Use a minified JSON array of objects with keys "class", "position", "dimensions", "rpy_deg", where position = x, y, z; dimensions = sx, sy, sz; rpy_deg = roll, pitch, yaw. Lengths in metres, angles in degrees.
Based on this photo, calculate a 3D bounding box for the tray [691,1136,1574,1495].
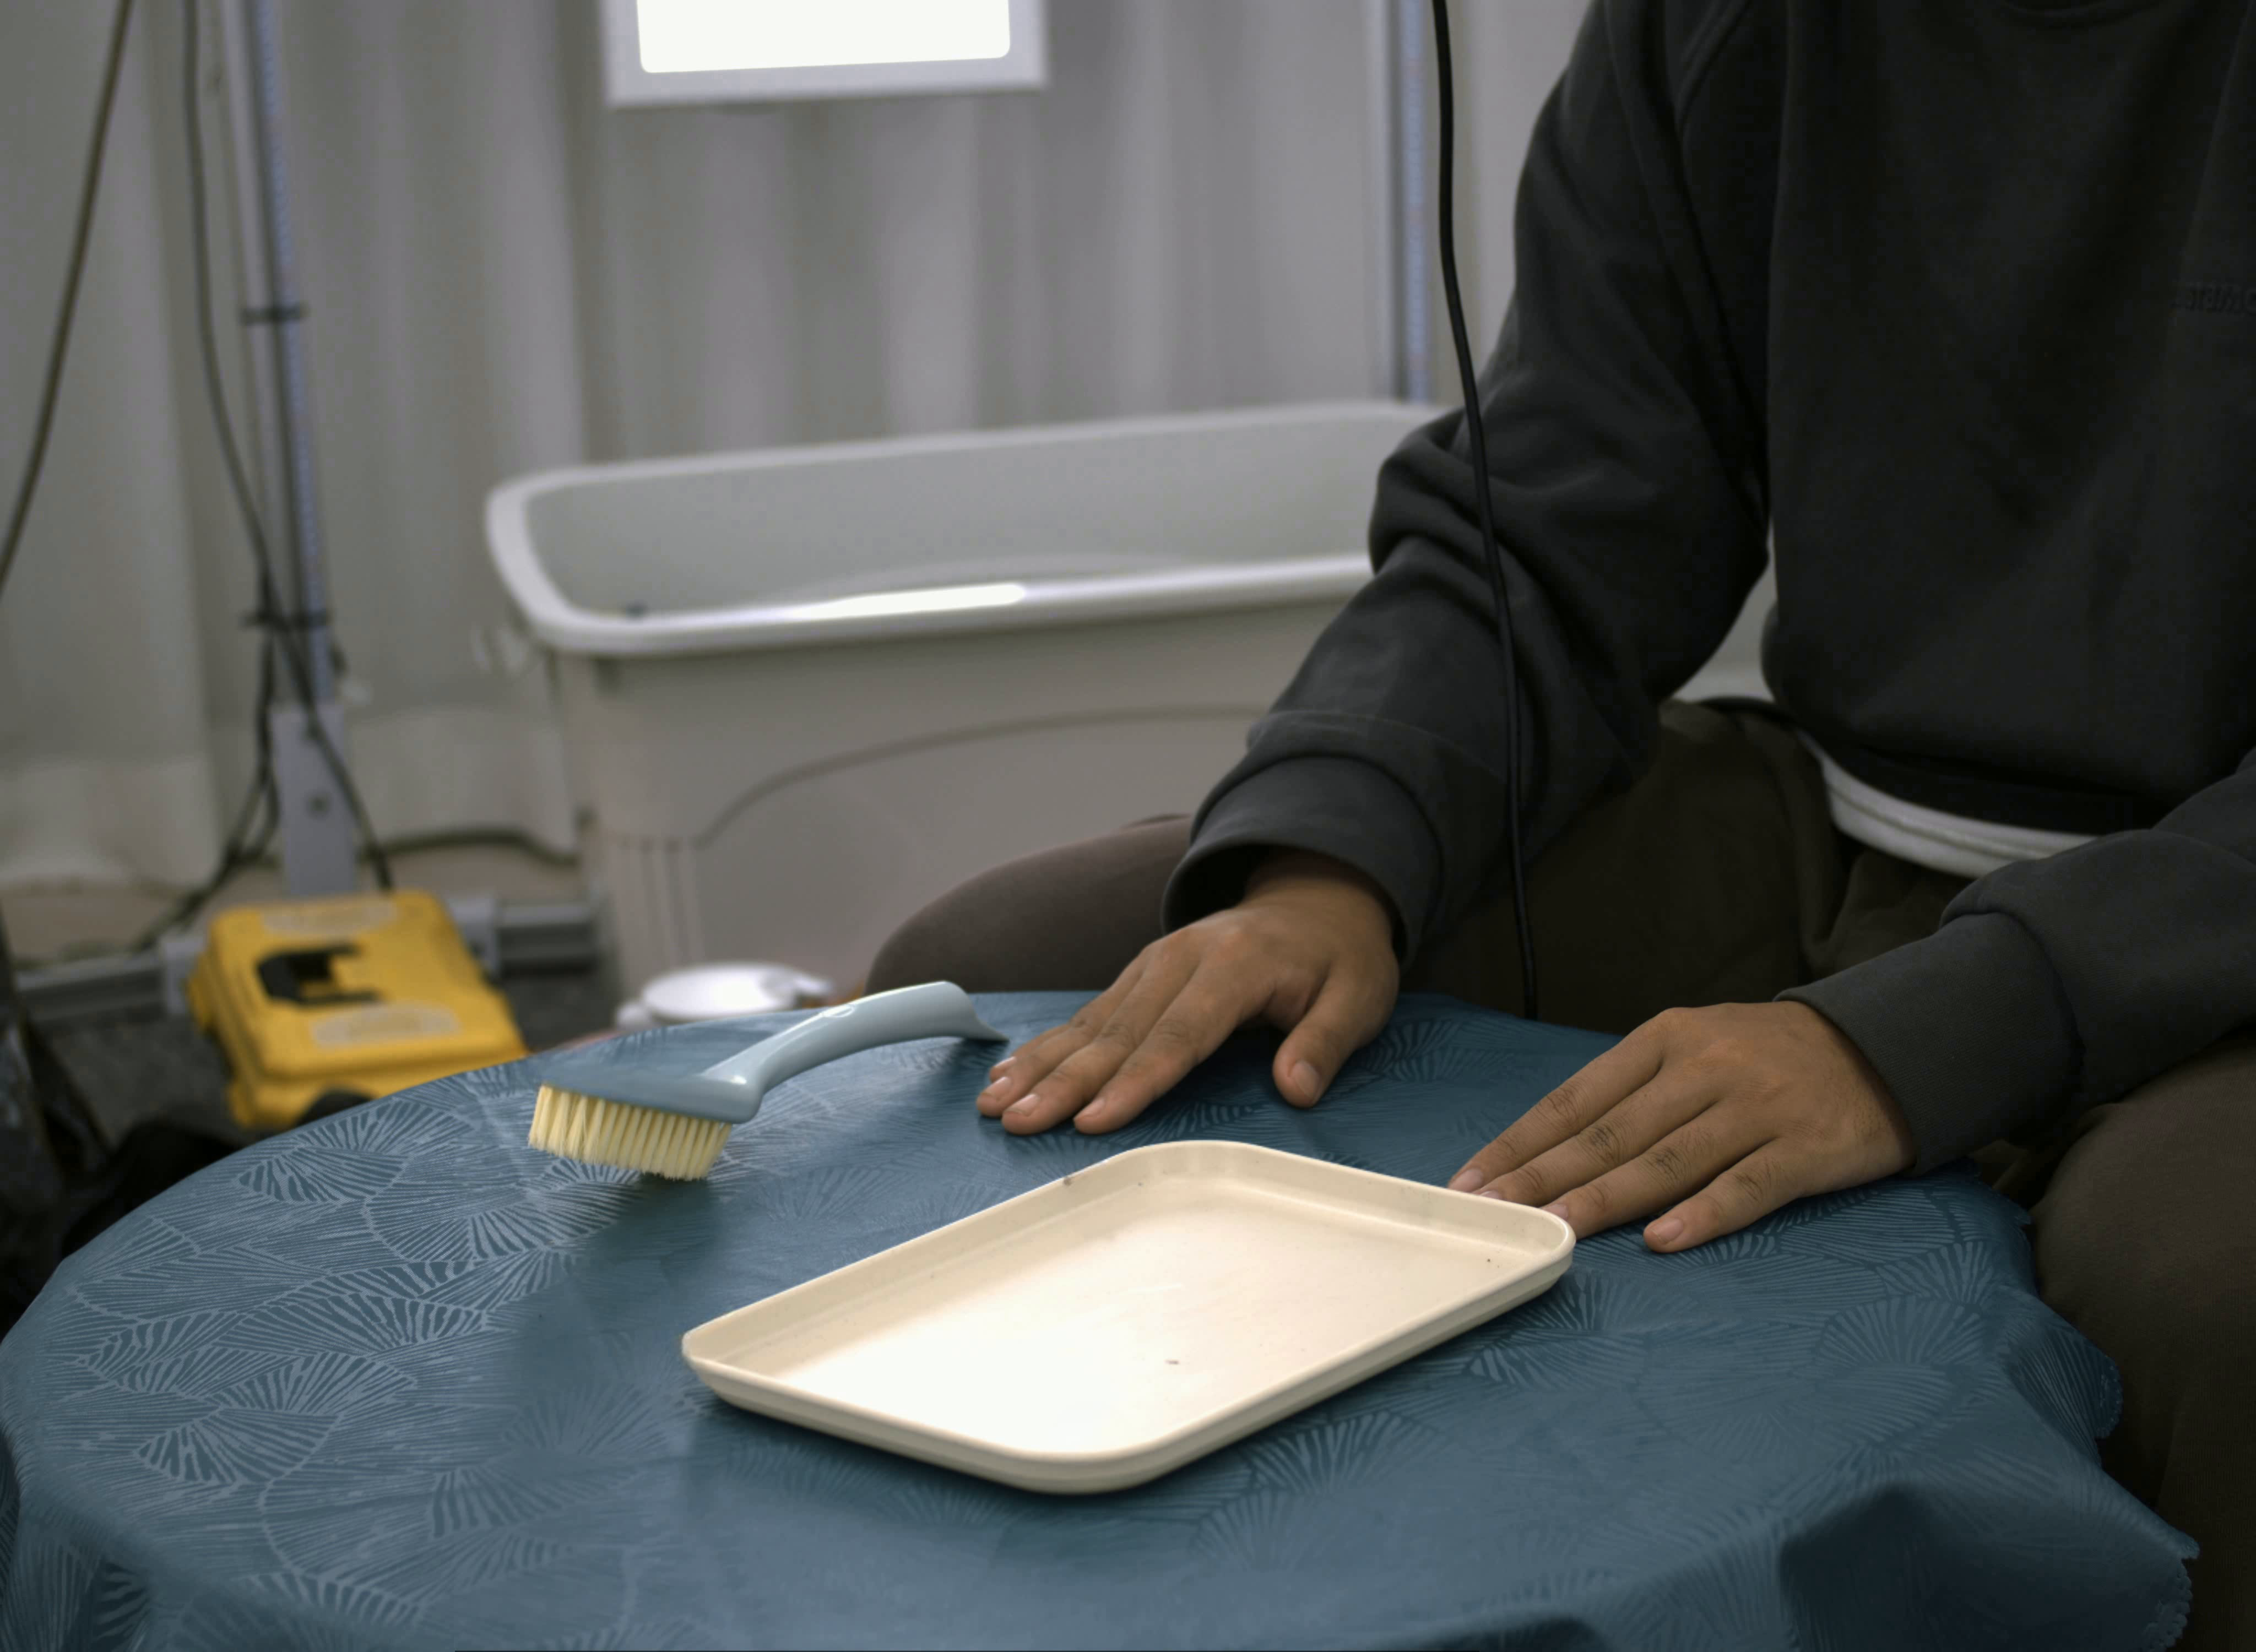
[{"class":"tray","position":[0.004,0.140,1.585],"dimensions":[0.172,0.017,0.239],"rpy_deg":[11,20,40]}]

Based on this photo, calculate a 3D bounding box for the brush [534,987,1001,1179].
[{"class":"brush","position":[-0.115,0.084,1.791],"dimensions":[0.038,0.049,0.228],"rpy_deg":[14,13,32]}]
